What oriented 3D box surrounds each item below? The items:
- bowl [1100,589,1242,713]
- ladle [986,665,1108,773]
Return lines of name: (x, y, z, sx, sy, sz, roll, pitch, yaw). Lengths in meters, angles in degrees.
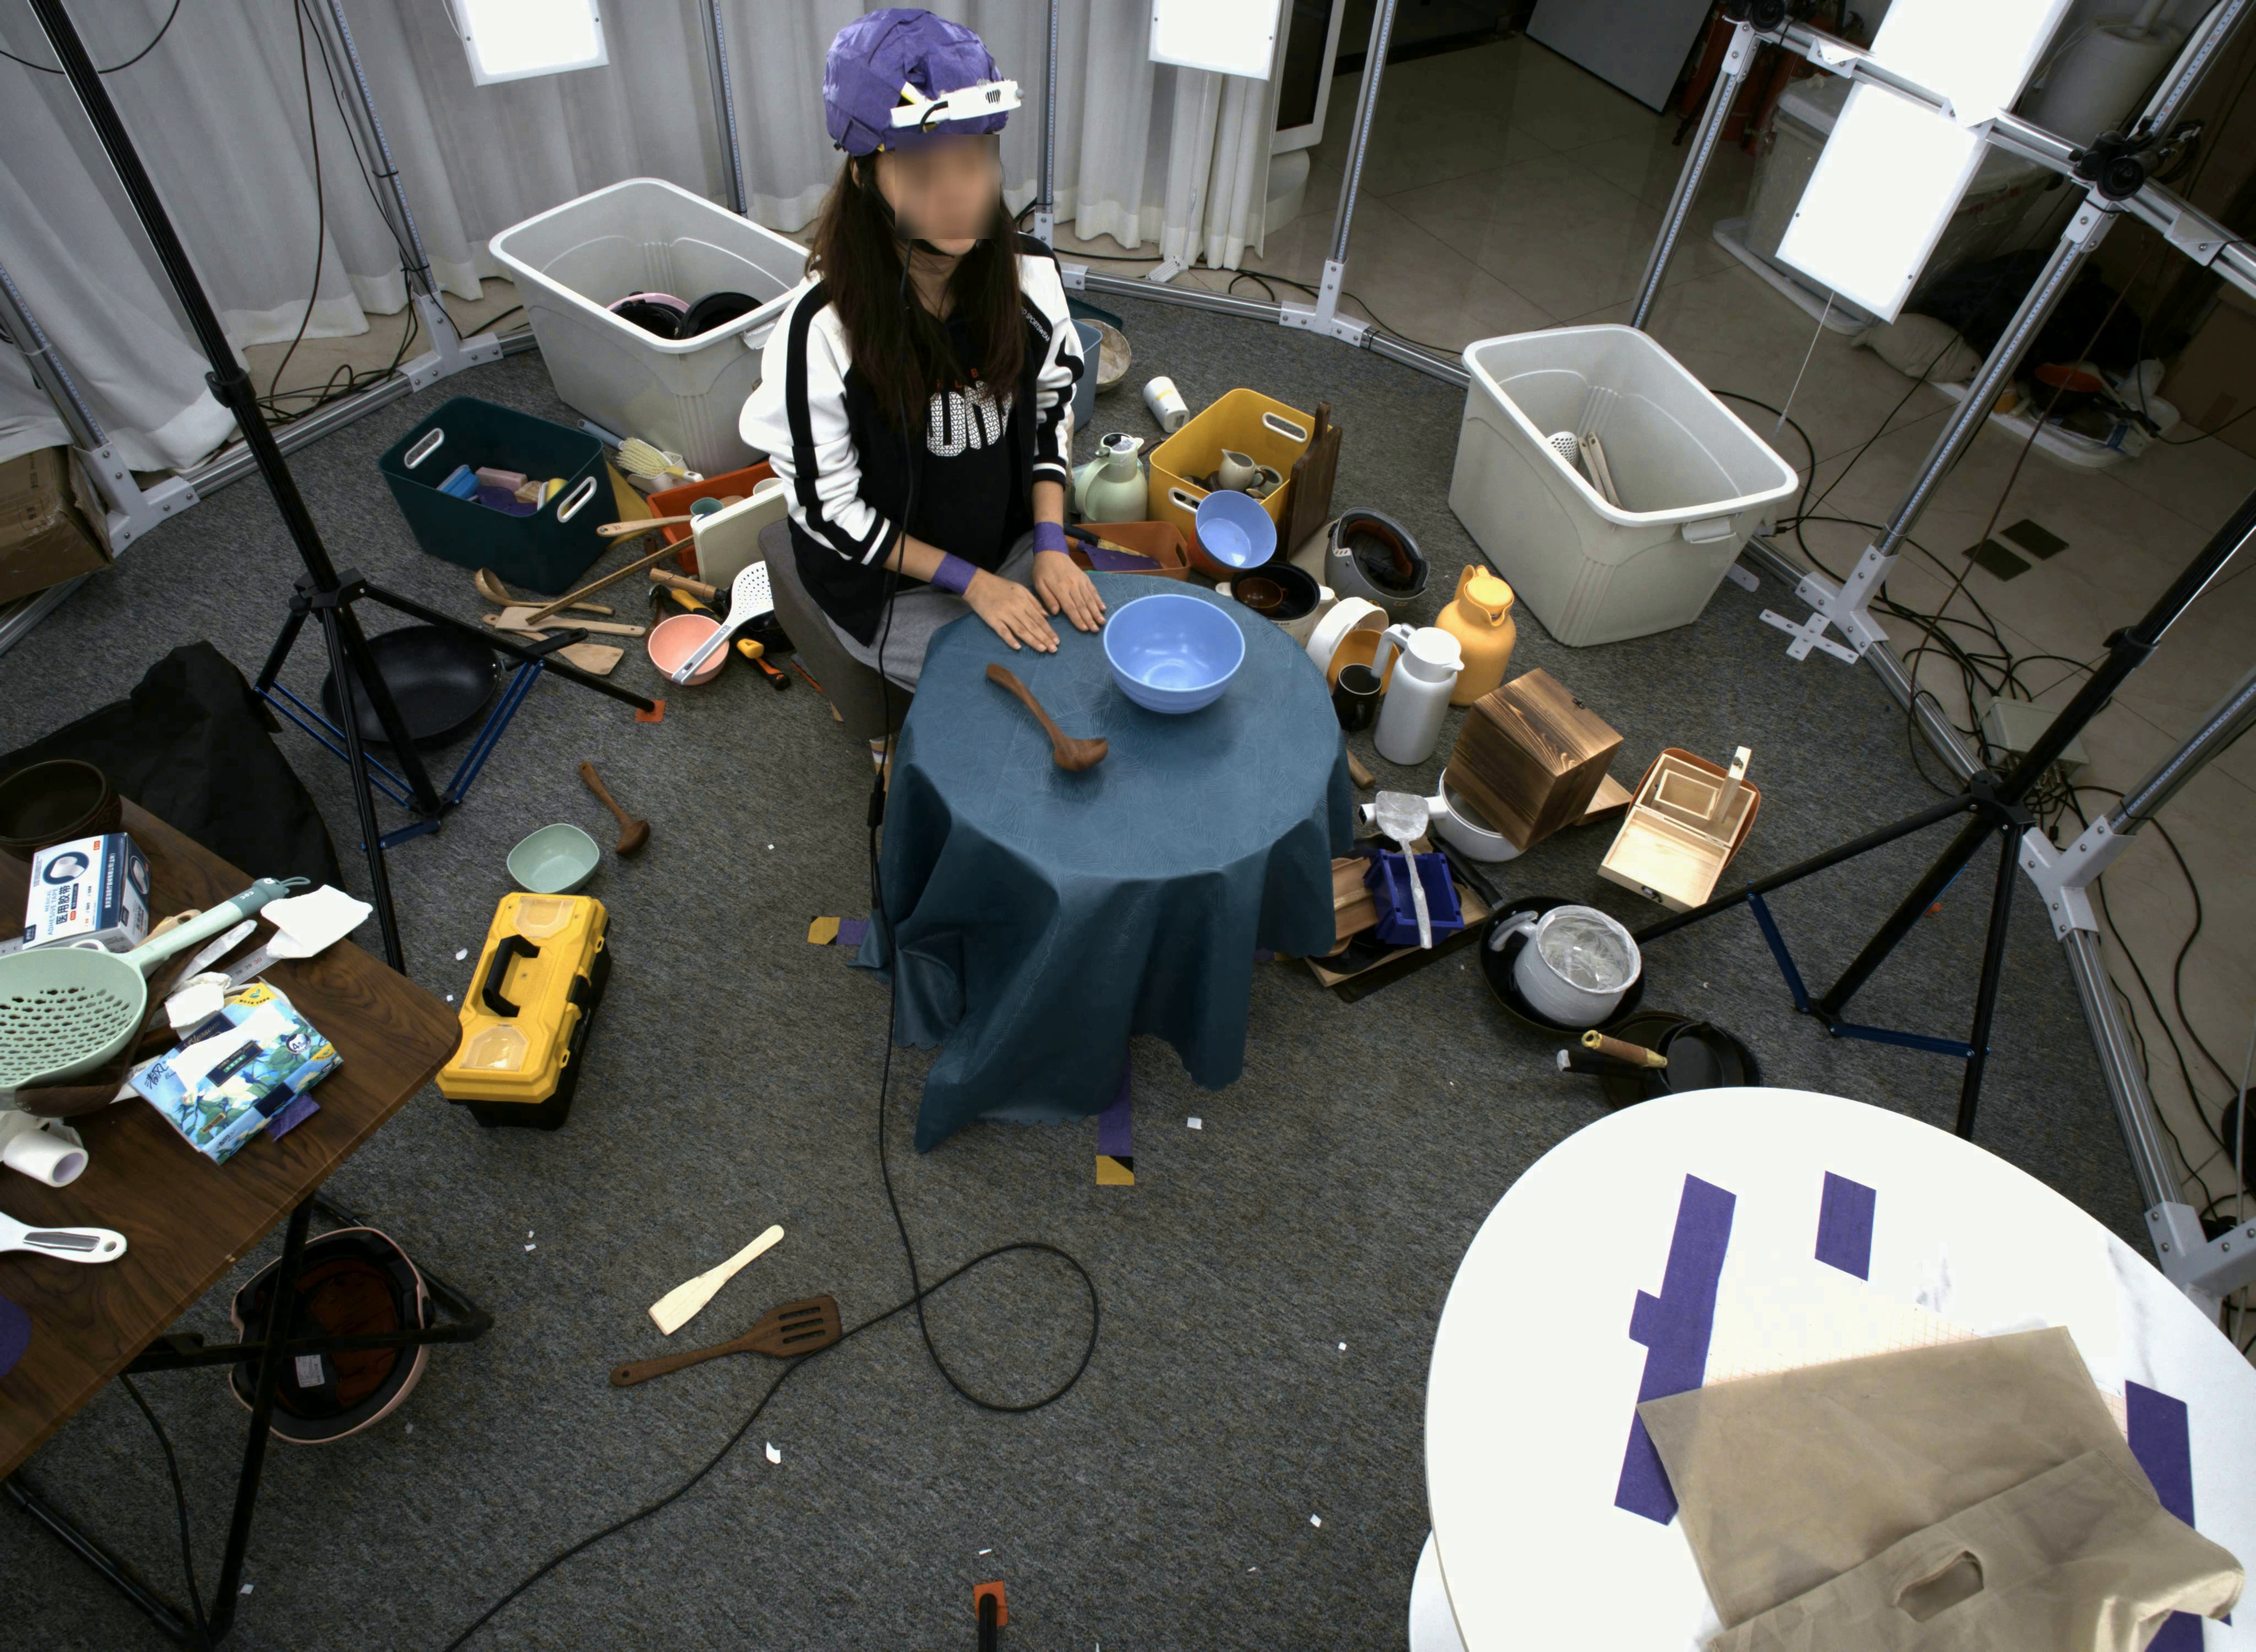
bowl: (0.059, -0.233, 1.816, 0.196, 0.093, 0.201, 0, 55, -1)
ladle: (-0.119, -0.160, 1.760, 0.077, 0.063, 0.265, -22, 54, -29)
